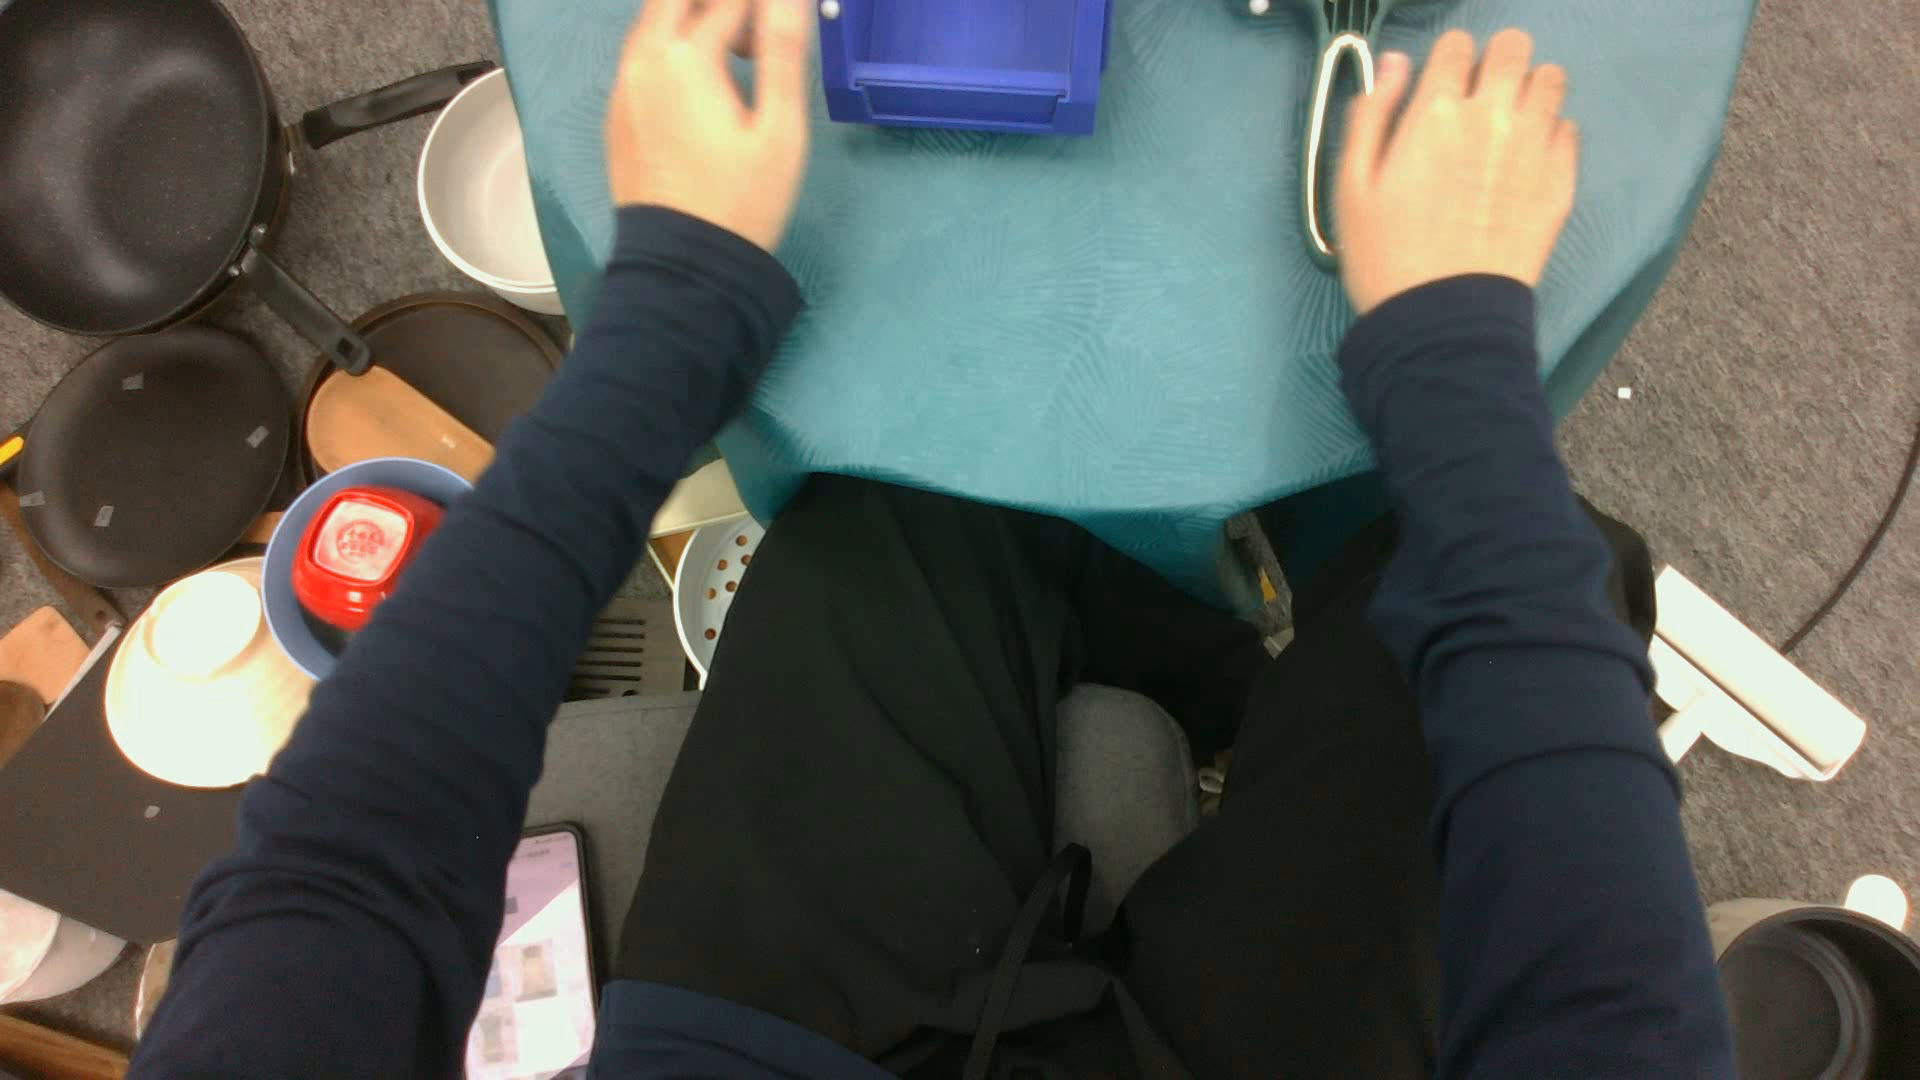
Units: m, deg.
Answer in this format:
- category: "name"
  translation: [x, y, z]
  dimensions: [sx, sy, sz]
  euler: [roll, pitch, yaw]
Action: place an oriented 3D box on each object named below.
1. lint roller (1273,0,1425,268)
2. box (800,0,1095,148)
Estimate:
- category: "lint roller"
  translation: [0.167, -0.217, 0.623]
  dimensions: [0.134, 0.048, 0.180]
  euler: [2, 86, 1]
- category: "box"
  translation: [0.001, -0.272, 0.614]
  dimensions: [0.124, 0.082, 0.179]
  euler: [6, 79, 1]
